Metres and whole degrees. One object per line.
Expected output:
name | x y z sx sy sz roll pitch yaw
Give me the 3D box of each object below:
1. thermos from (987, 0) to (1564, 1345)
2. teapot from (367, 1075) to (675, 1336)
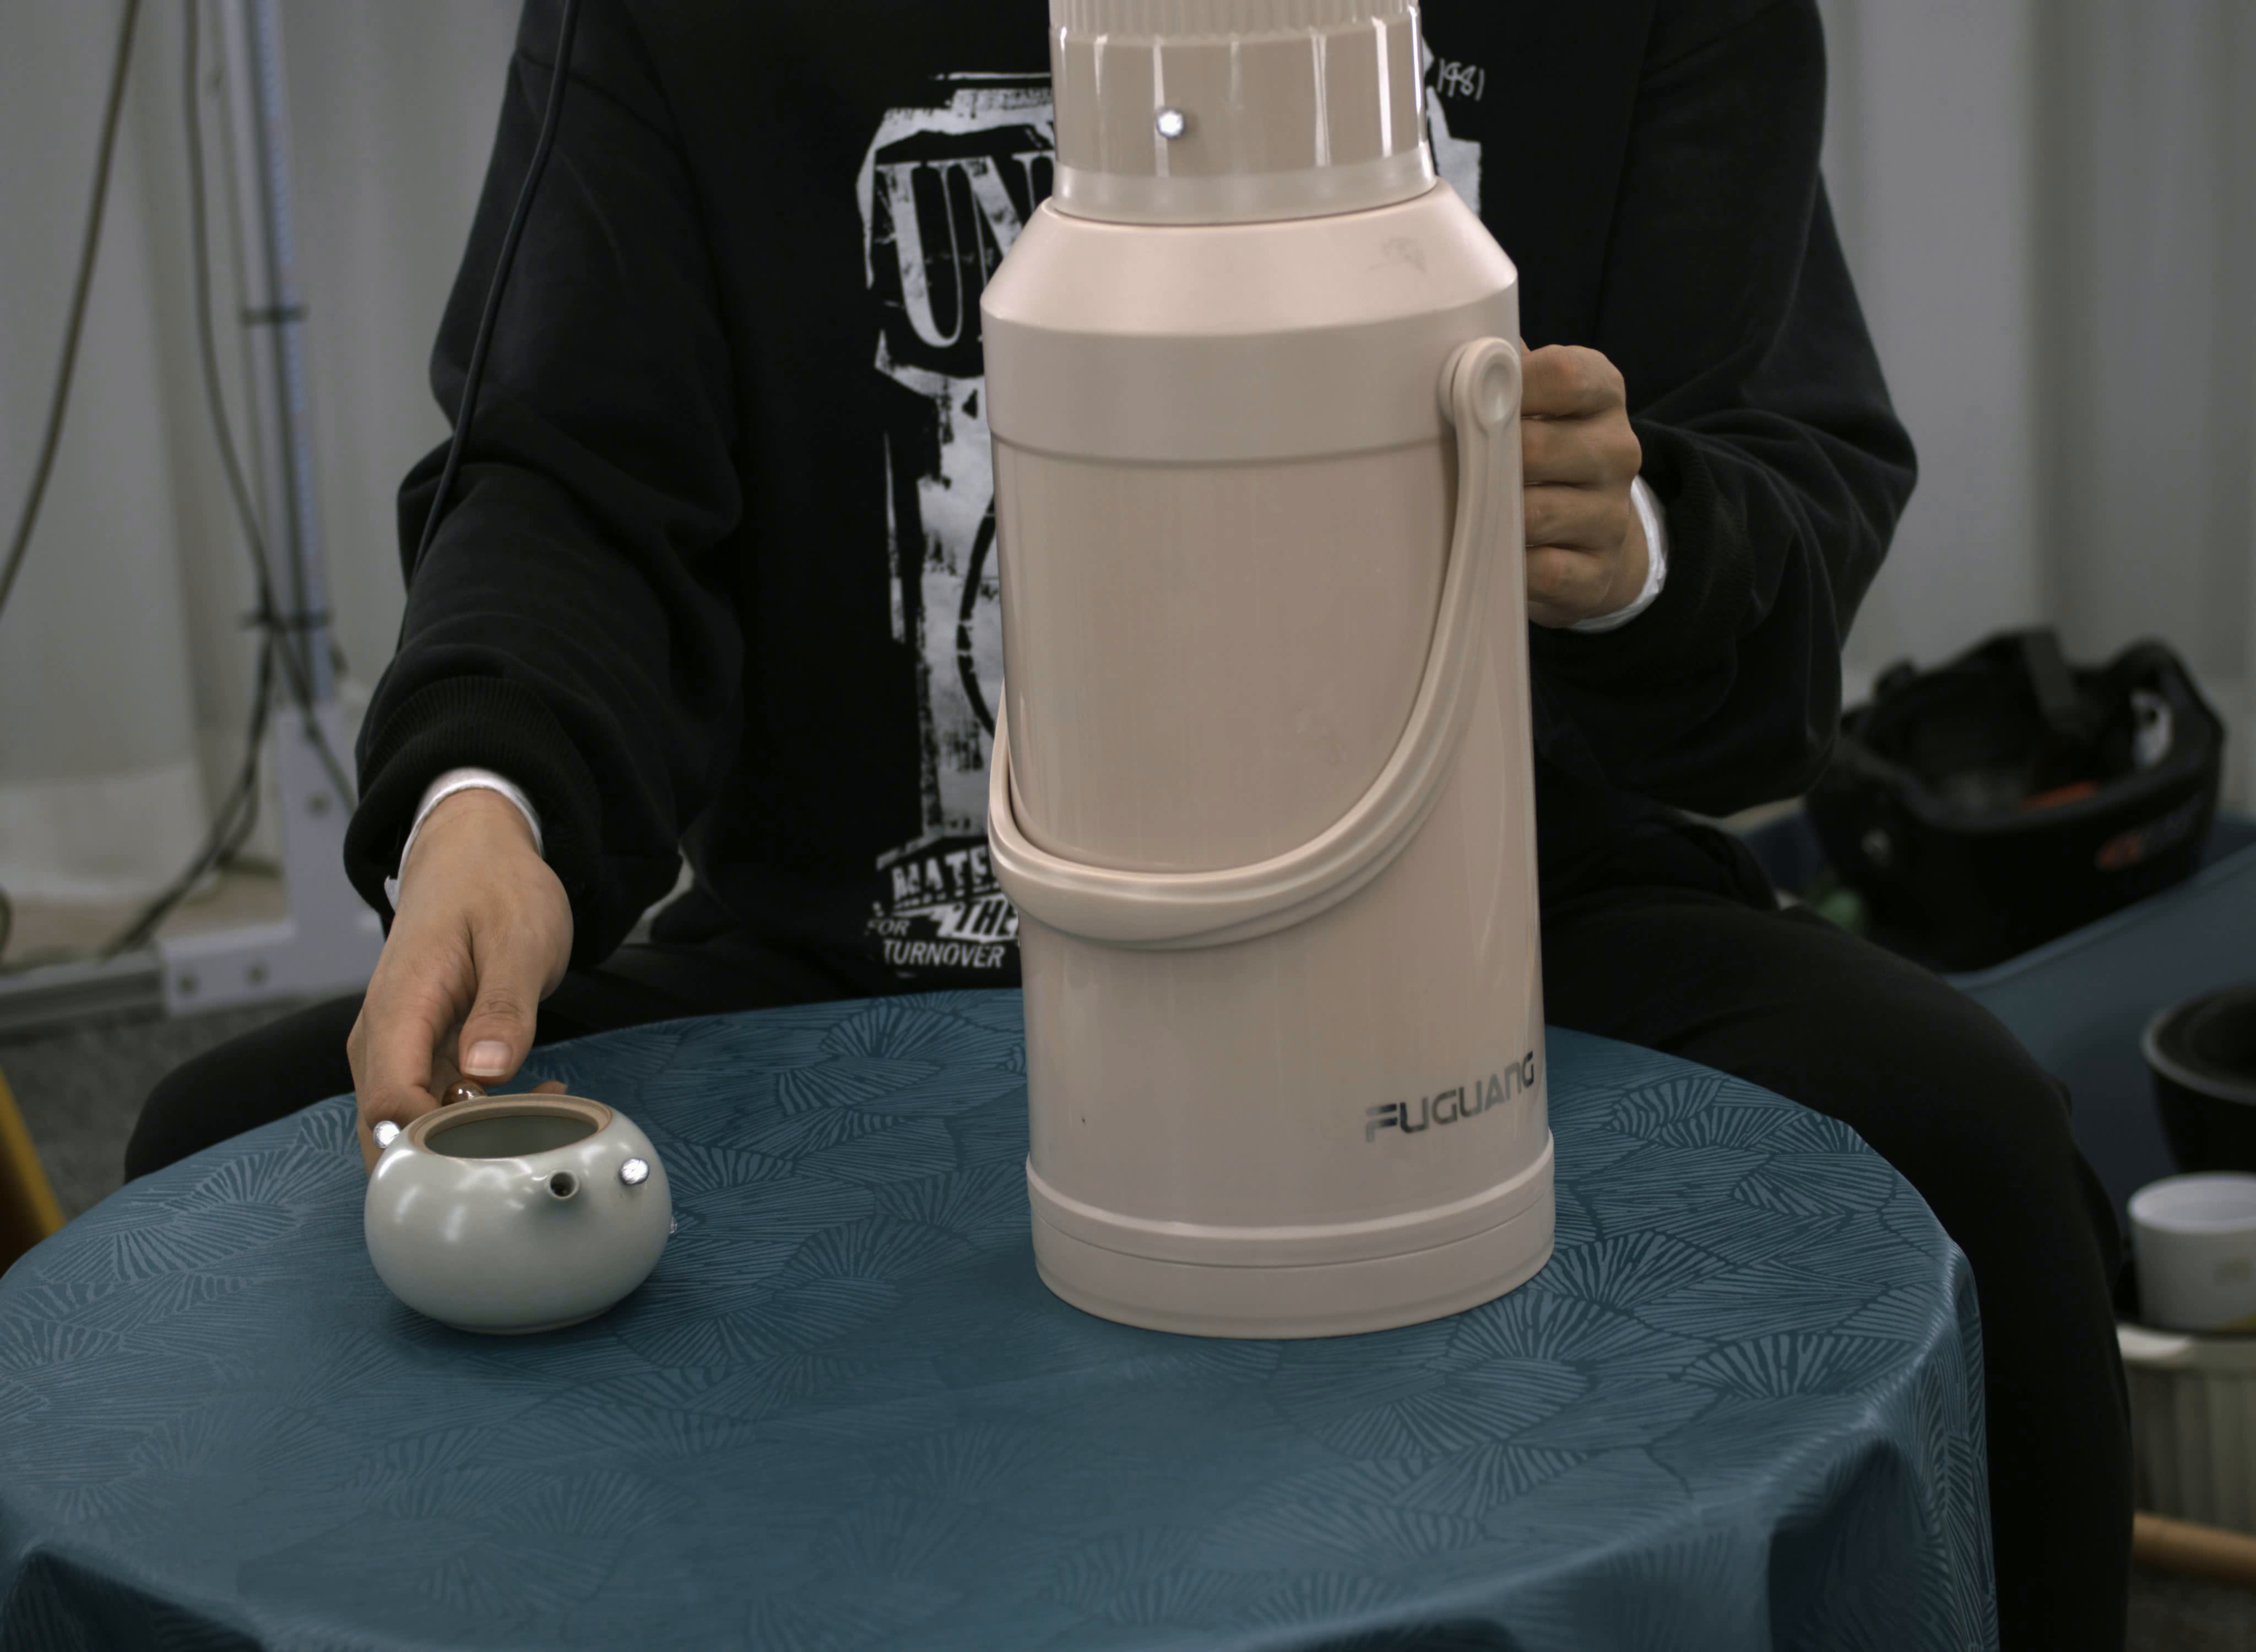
thermos | 0.052 -0.065 1.617 0.176 0.405 0.207 6 17 38
teapot | -0.185 0.113 1.642 0.091 0.059 0.129 -12 19 -22
